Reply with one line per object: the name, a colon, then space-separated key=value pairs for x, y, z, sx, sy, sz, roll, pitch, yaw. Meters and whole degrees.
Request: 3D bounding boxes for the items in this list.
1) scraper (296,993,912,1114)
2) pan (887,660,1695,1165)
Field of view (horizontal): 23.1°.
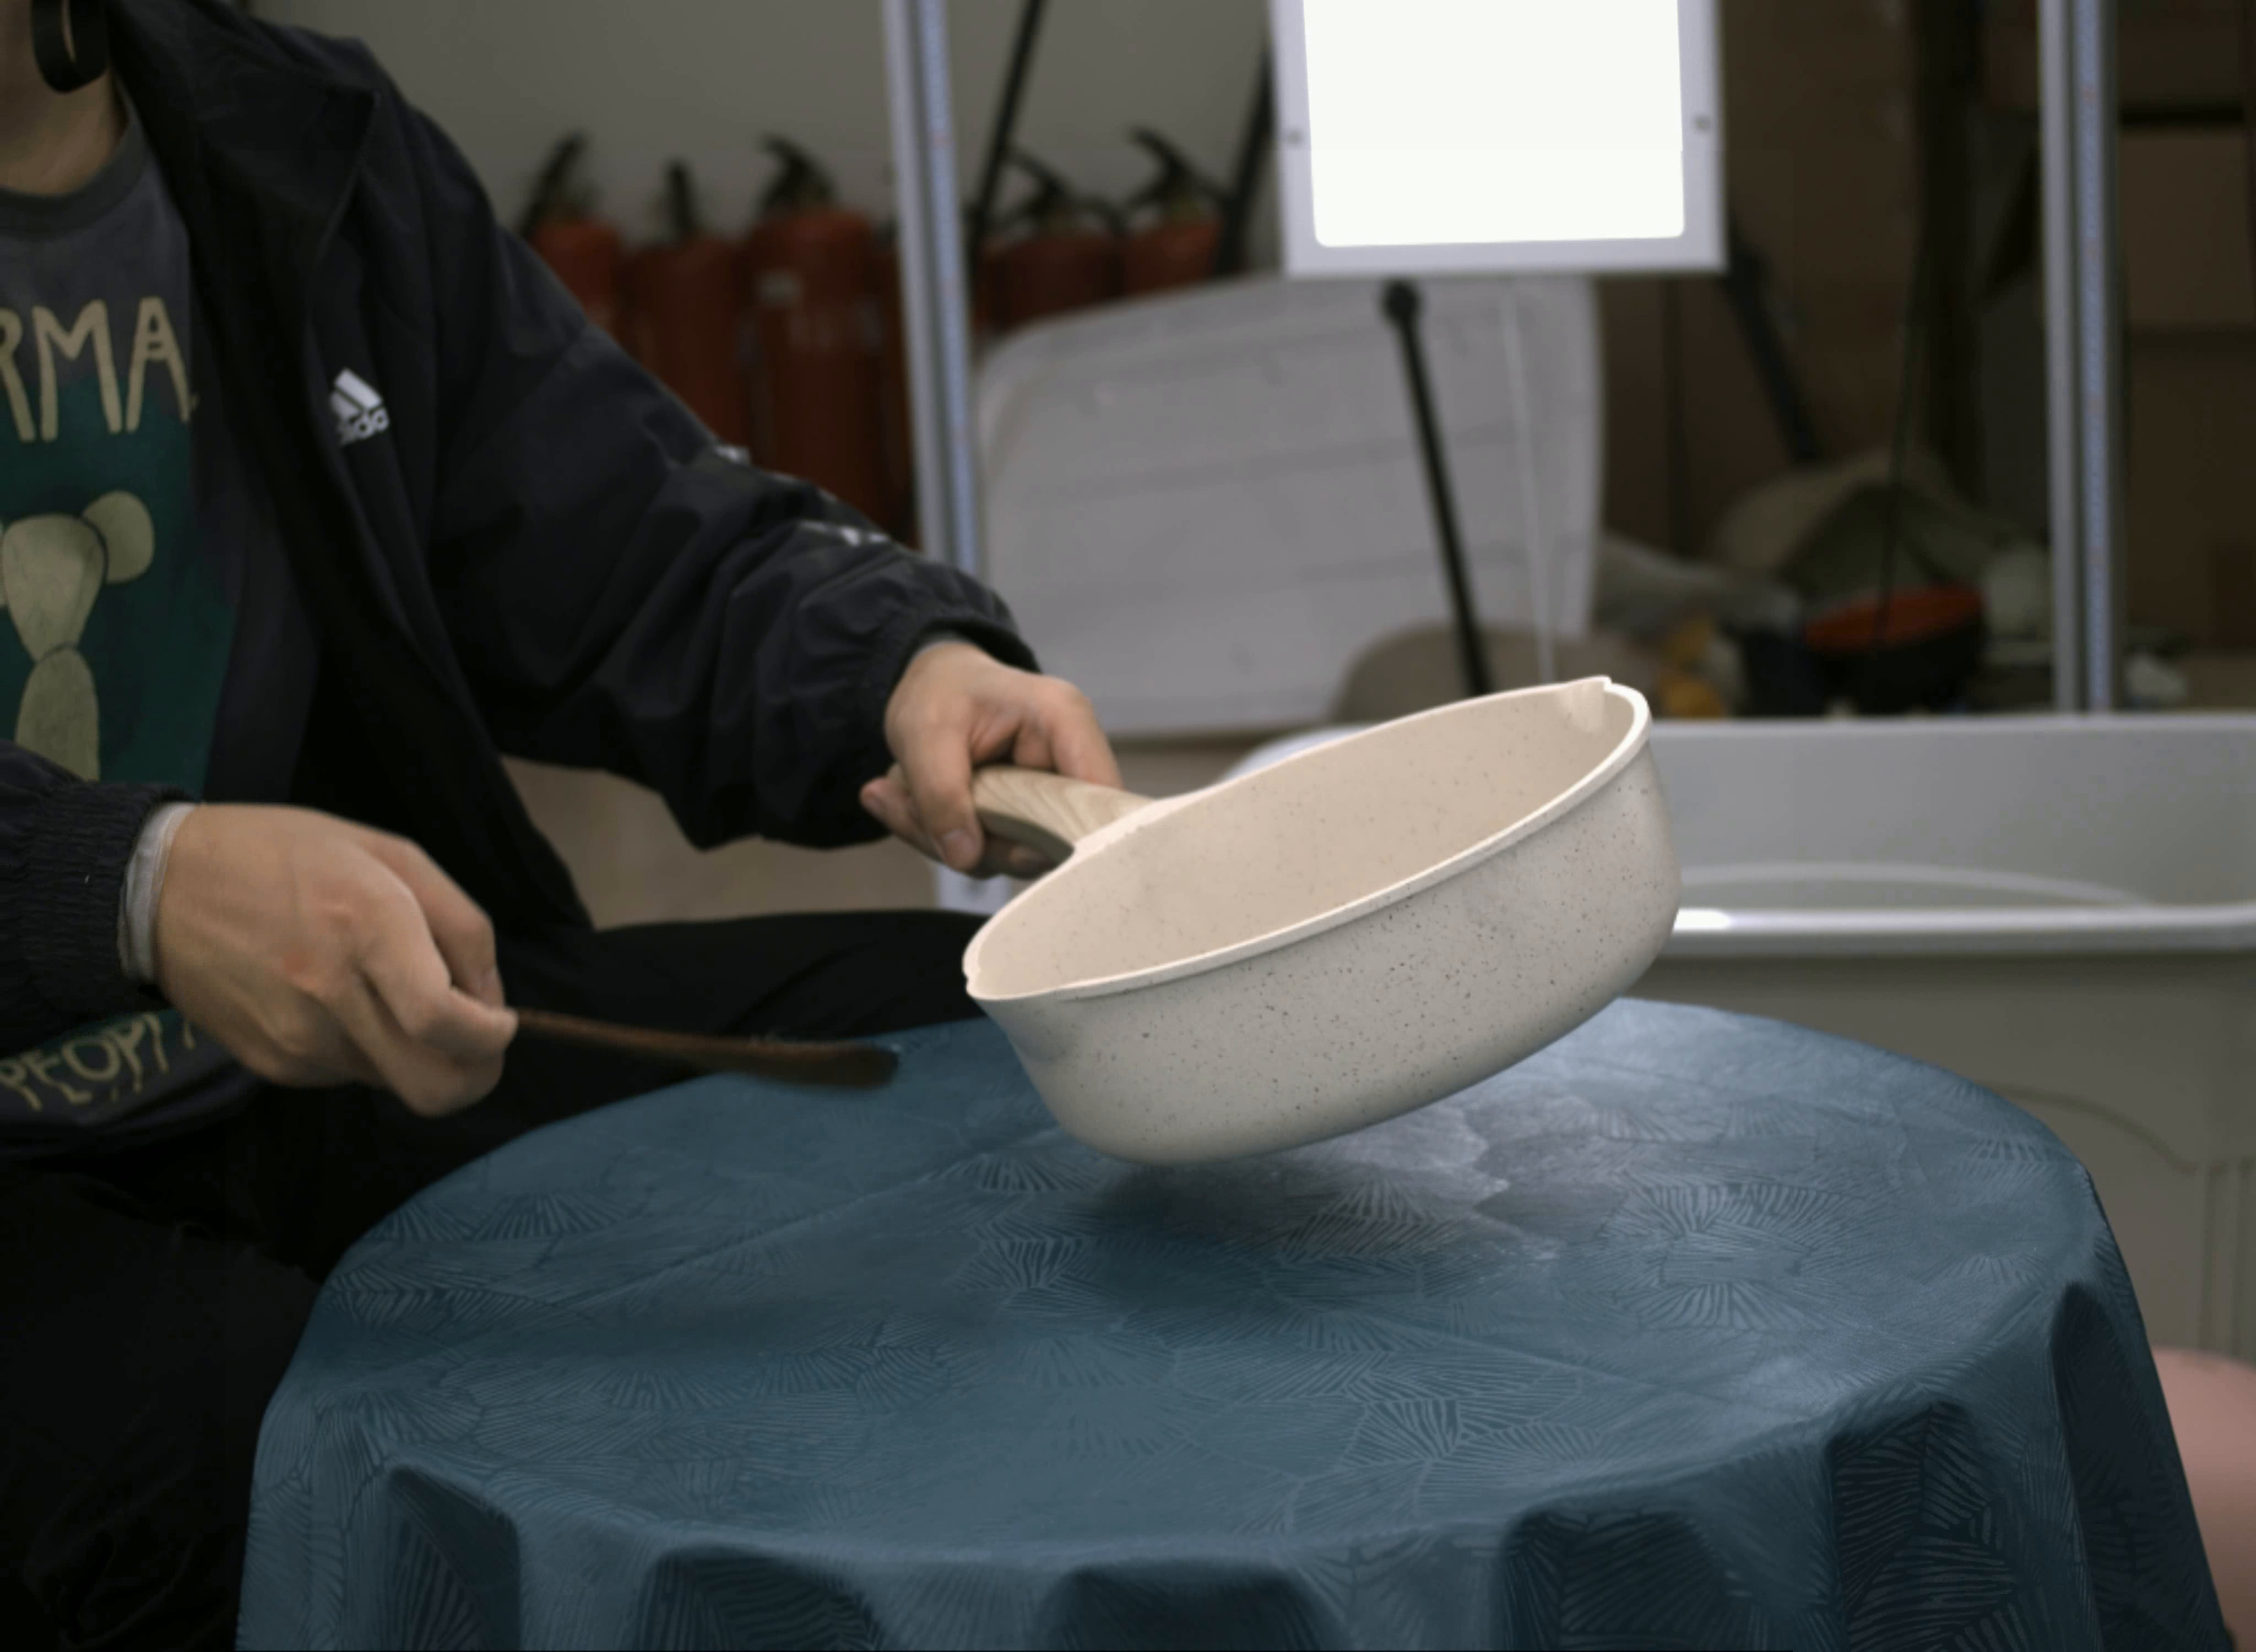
scraper: x=-0.176 y=0.073 z=1.821 sx=0.213 sy=0.011 sz=0.075 roll=8 pitch=-13 yaw=17
pan: x=0.034 y=0.028 z=1.961 sx=0.259 sy=0.102 sz=0.443 roll=-29 pitch=13 yaw=-23
